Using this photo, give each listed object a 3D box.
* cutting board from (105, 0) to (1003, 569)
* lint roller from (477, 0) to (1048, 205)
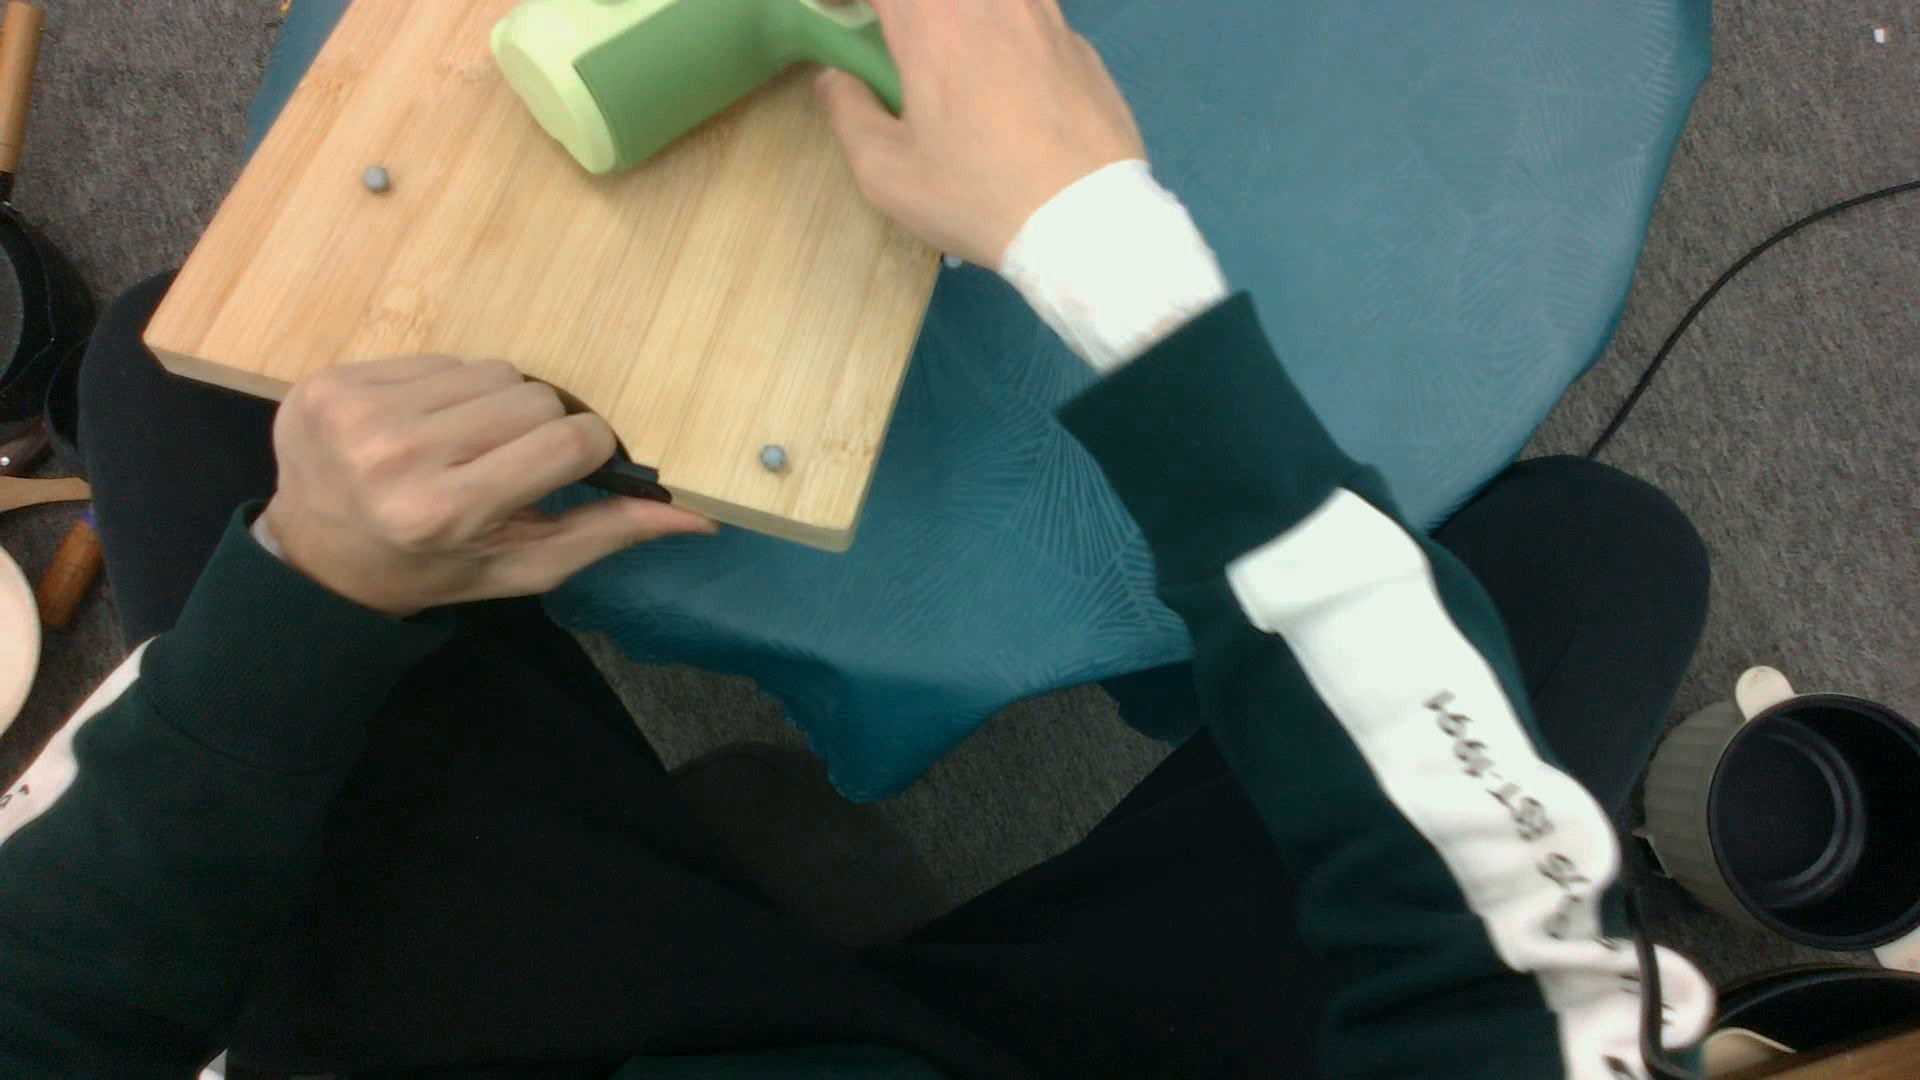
[{"bbox_3d":[-0.122,-0.170,0.529,0.251,0.023,0.350,13,63,1],"label":"cutting board"},{"bbox_3d":[-0.041,-0.180,0.471,0.199,0.082,0.183,-40,55,-22],"label":"lint roller"}]
